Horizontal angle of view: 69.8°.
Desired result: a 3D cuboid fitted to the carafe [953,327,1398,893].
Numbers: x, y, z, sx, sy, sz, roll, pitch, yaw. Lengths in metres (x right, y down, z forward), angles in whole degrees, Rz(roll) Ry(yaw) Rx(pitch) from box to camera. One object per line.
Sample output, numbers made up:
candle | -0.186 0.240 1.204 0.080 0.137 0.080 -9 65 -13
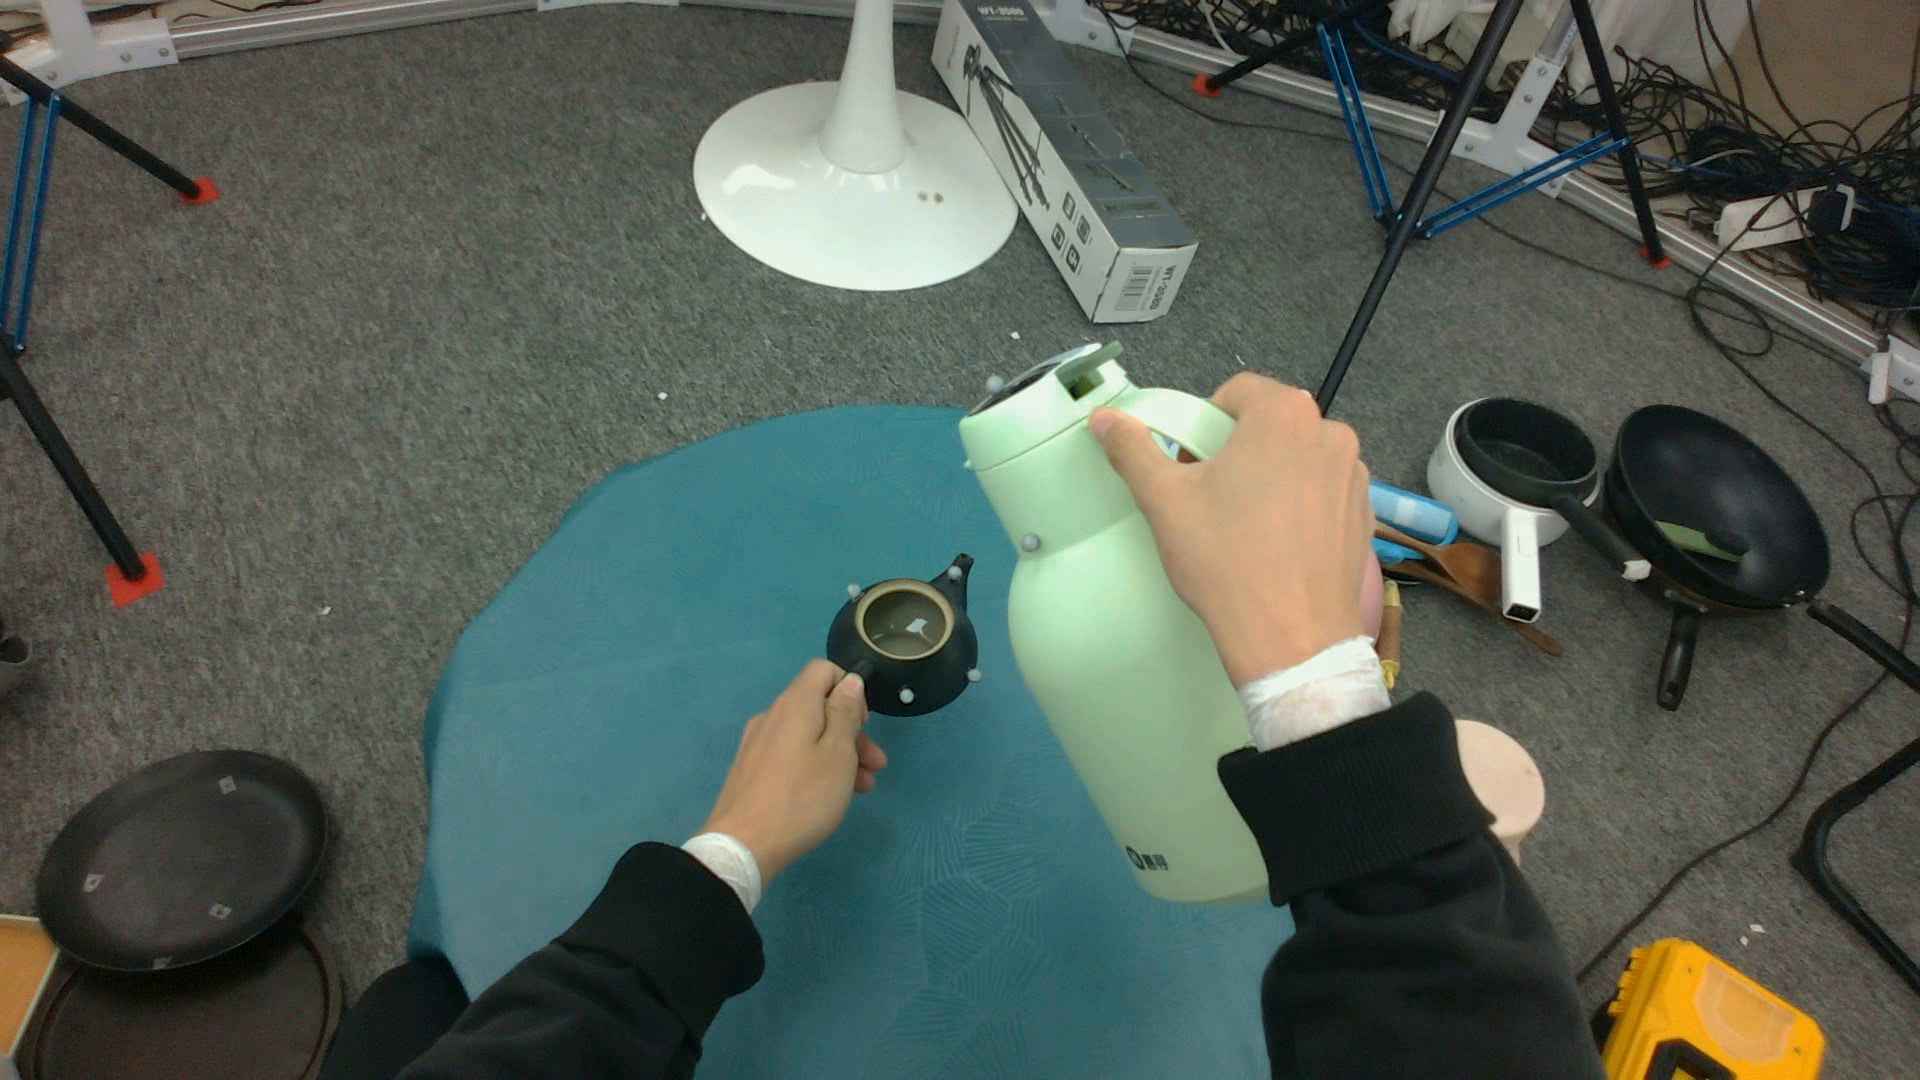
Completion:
carafe | 0.098 0.027 0.643 0.145 0.186 0.256 -35 102 -31

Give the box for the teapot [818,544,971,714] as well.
teapot | -0.039 0.057 0.815 0.091 0.053 0.134 29 51 19
